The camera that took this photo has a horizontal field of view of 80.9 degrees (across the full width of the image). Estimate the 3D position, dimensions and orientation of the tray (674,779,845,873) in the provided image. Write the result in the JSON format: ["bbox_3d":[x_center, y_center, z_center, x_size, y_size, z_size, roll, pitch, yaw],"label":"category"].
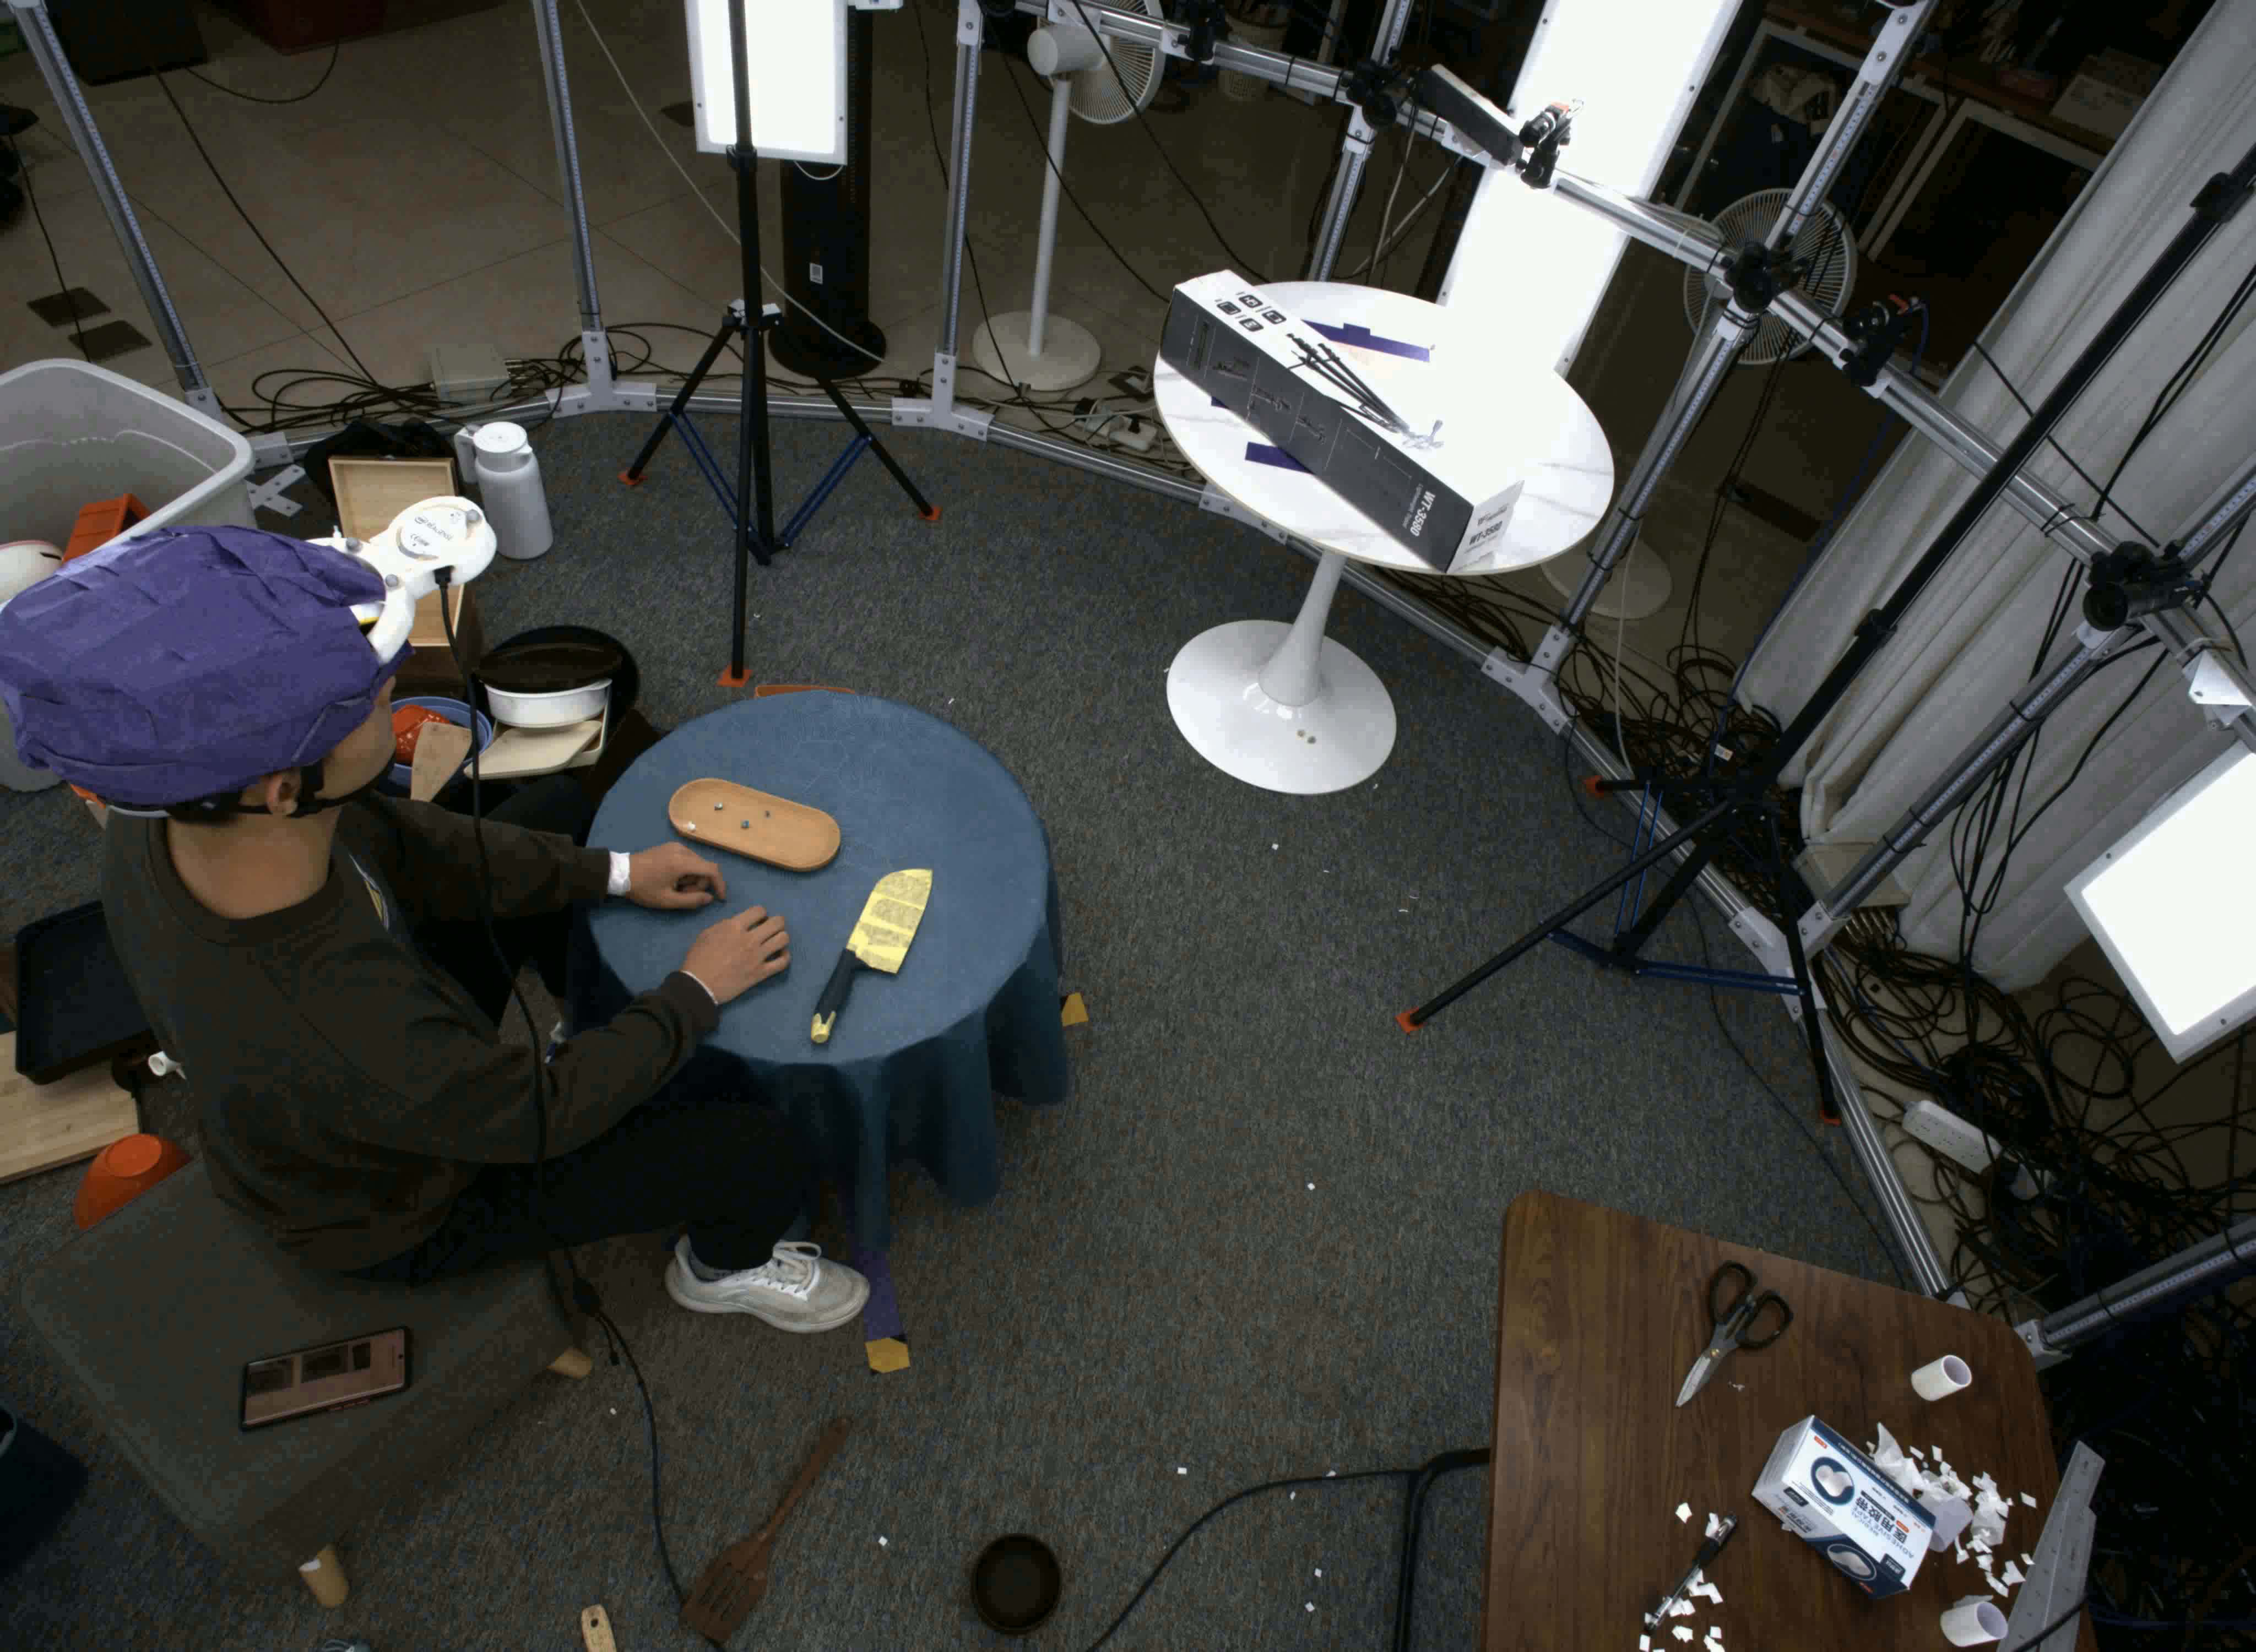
[{"bbox_3d":[-0.487,-0.001,1.710,0.229,0.020,0.100,18,54,-3],"label":"tray"}]

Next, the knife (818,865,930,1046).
[{"bbox_3d":[-0.317,0.155,1.638,0.080,0.028,0.286,19,51,2],"label":"knife"}]
